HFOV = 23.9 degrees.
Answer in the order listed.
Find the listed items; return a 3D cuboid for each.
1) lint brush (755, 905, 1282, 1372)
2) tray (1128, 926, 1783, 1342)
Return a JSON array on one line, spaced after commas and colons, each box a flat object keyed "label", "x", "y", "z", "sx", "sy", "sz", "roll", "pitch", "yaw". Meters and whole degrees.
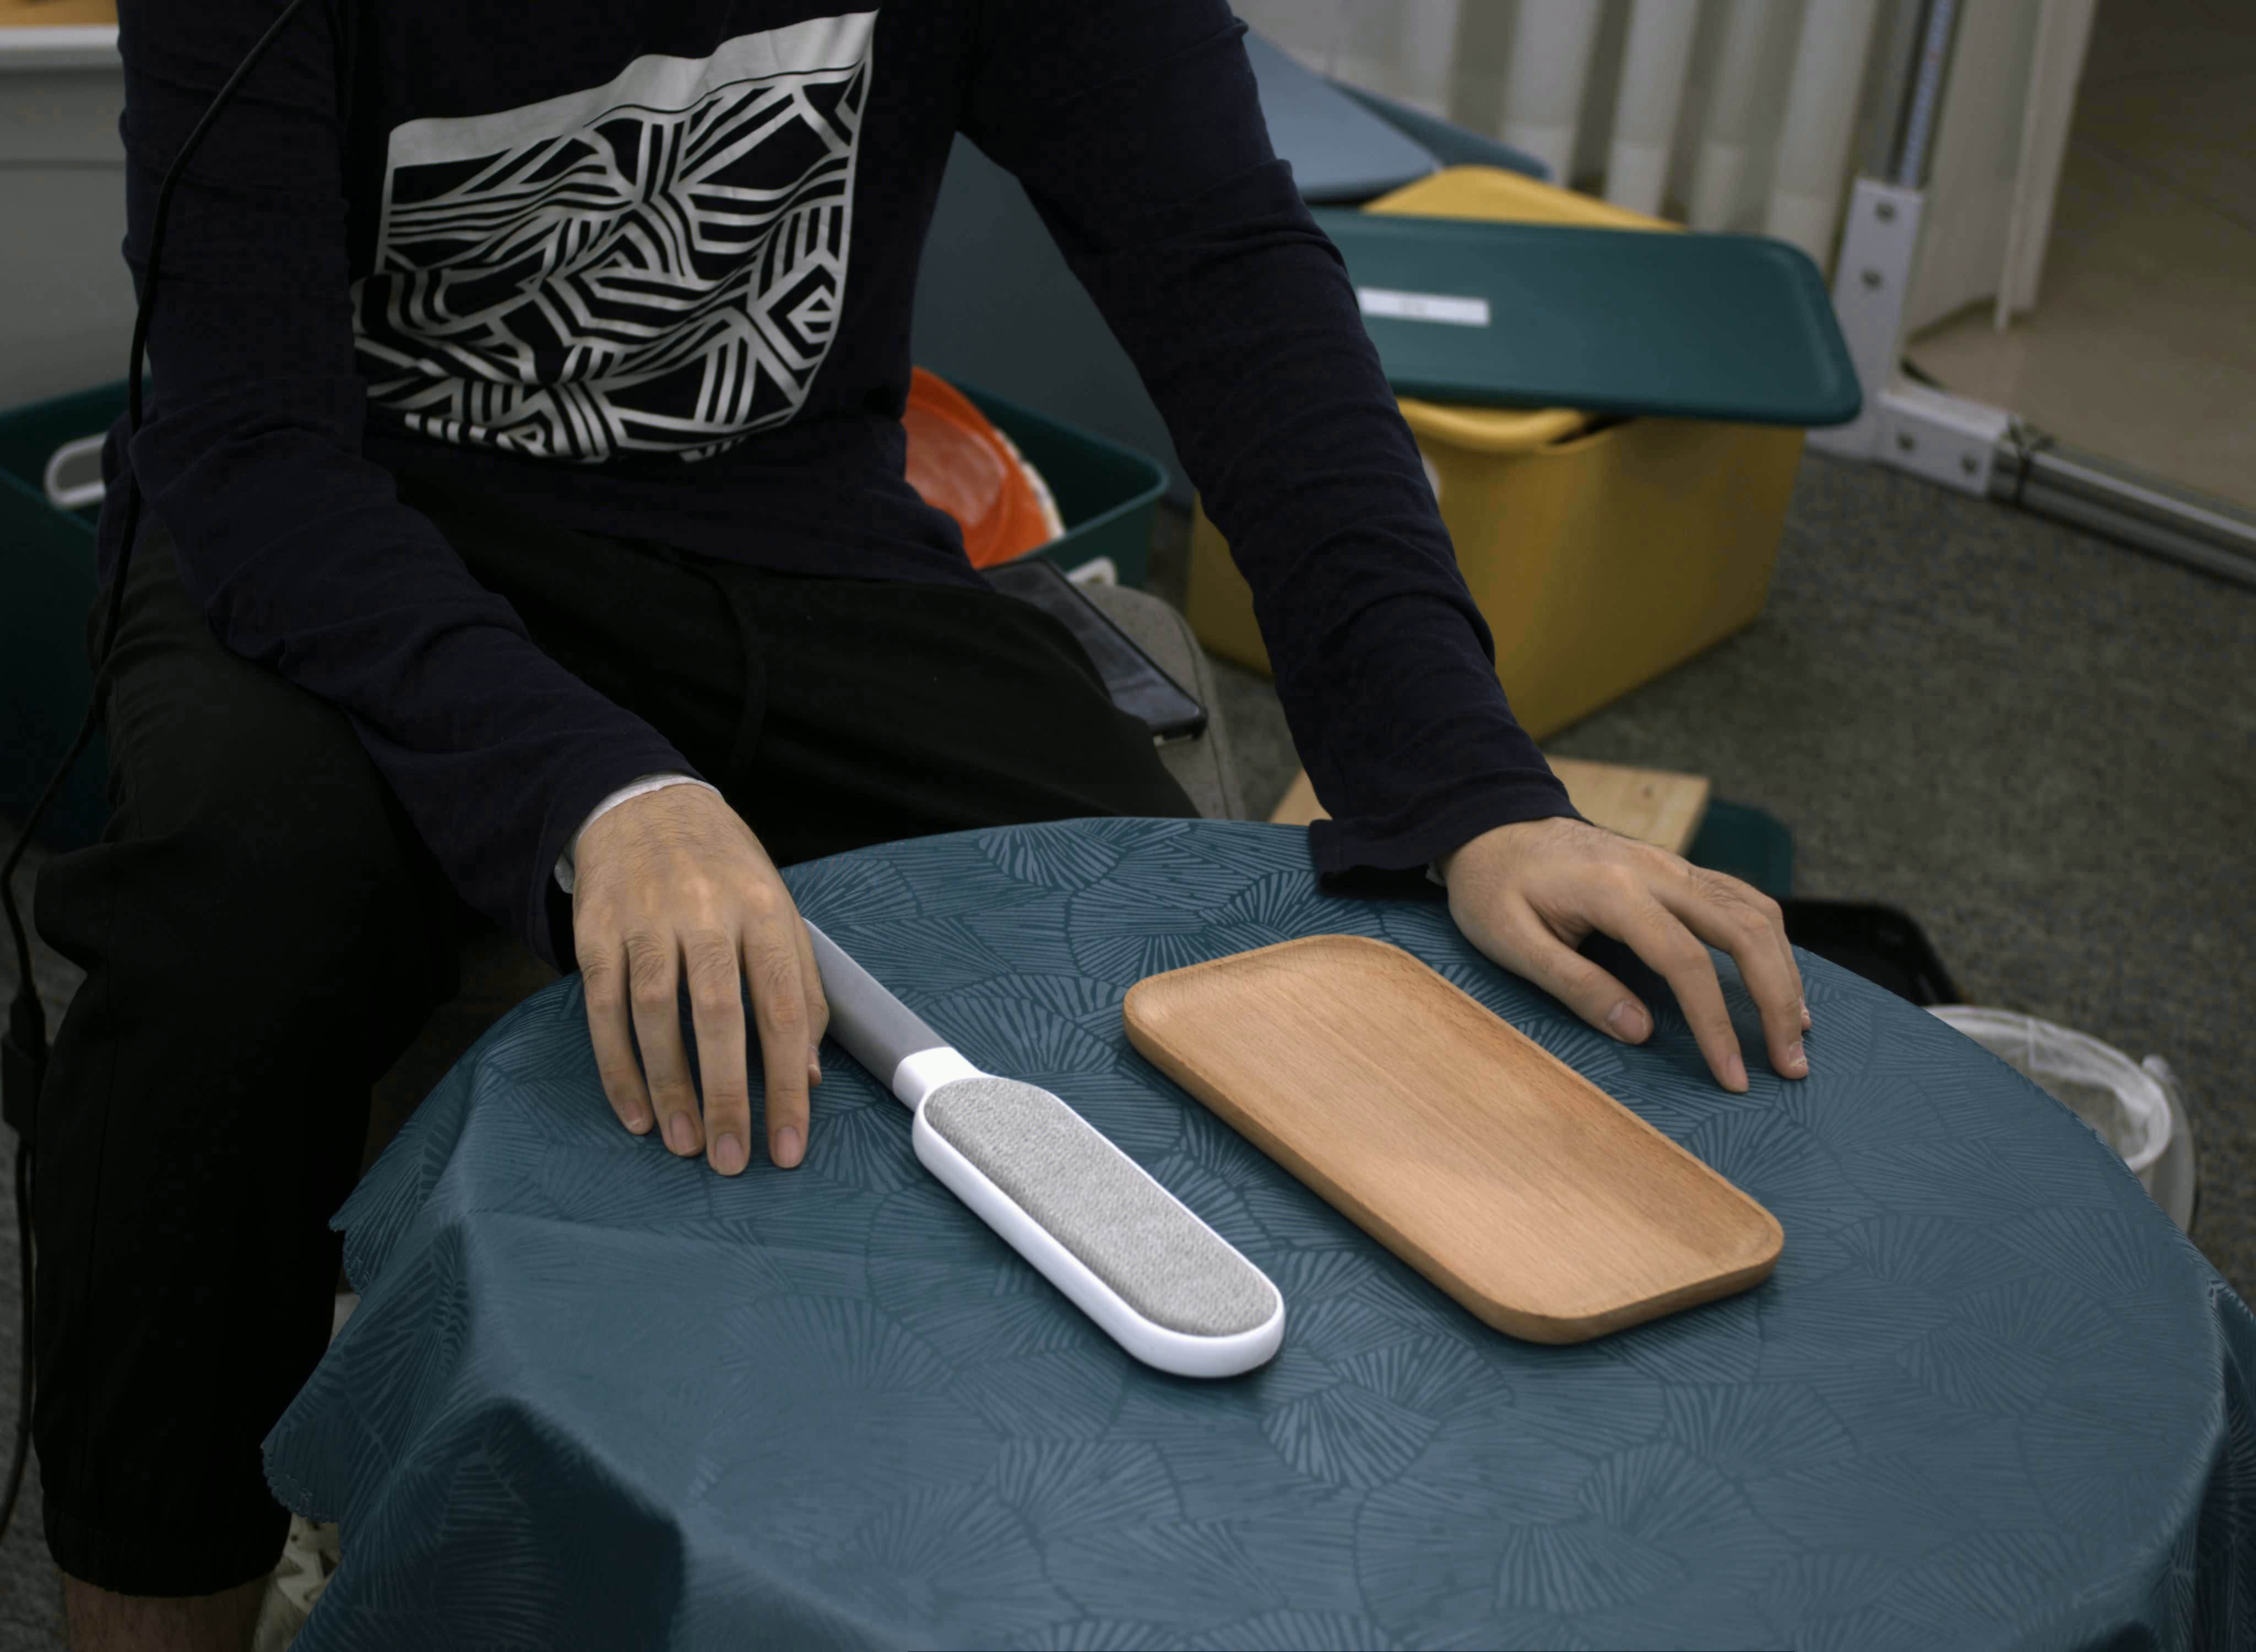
[{"label": "lint brush", "x": -0.044, "y": 0.101, "z": 1.810, "sx": 0.060, "sy": 0.021, "sz": 0.312, "roll": -16, "pitch": 34, "yaw": -28}, {"label": "tray", "x": 0.110, "y": 0.104, "z": 1.850, "sx": 0.129, "sy": 0.023, "sz": 0.253, "roll": -9, "pitch": 30, "yaw": -33}]
